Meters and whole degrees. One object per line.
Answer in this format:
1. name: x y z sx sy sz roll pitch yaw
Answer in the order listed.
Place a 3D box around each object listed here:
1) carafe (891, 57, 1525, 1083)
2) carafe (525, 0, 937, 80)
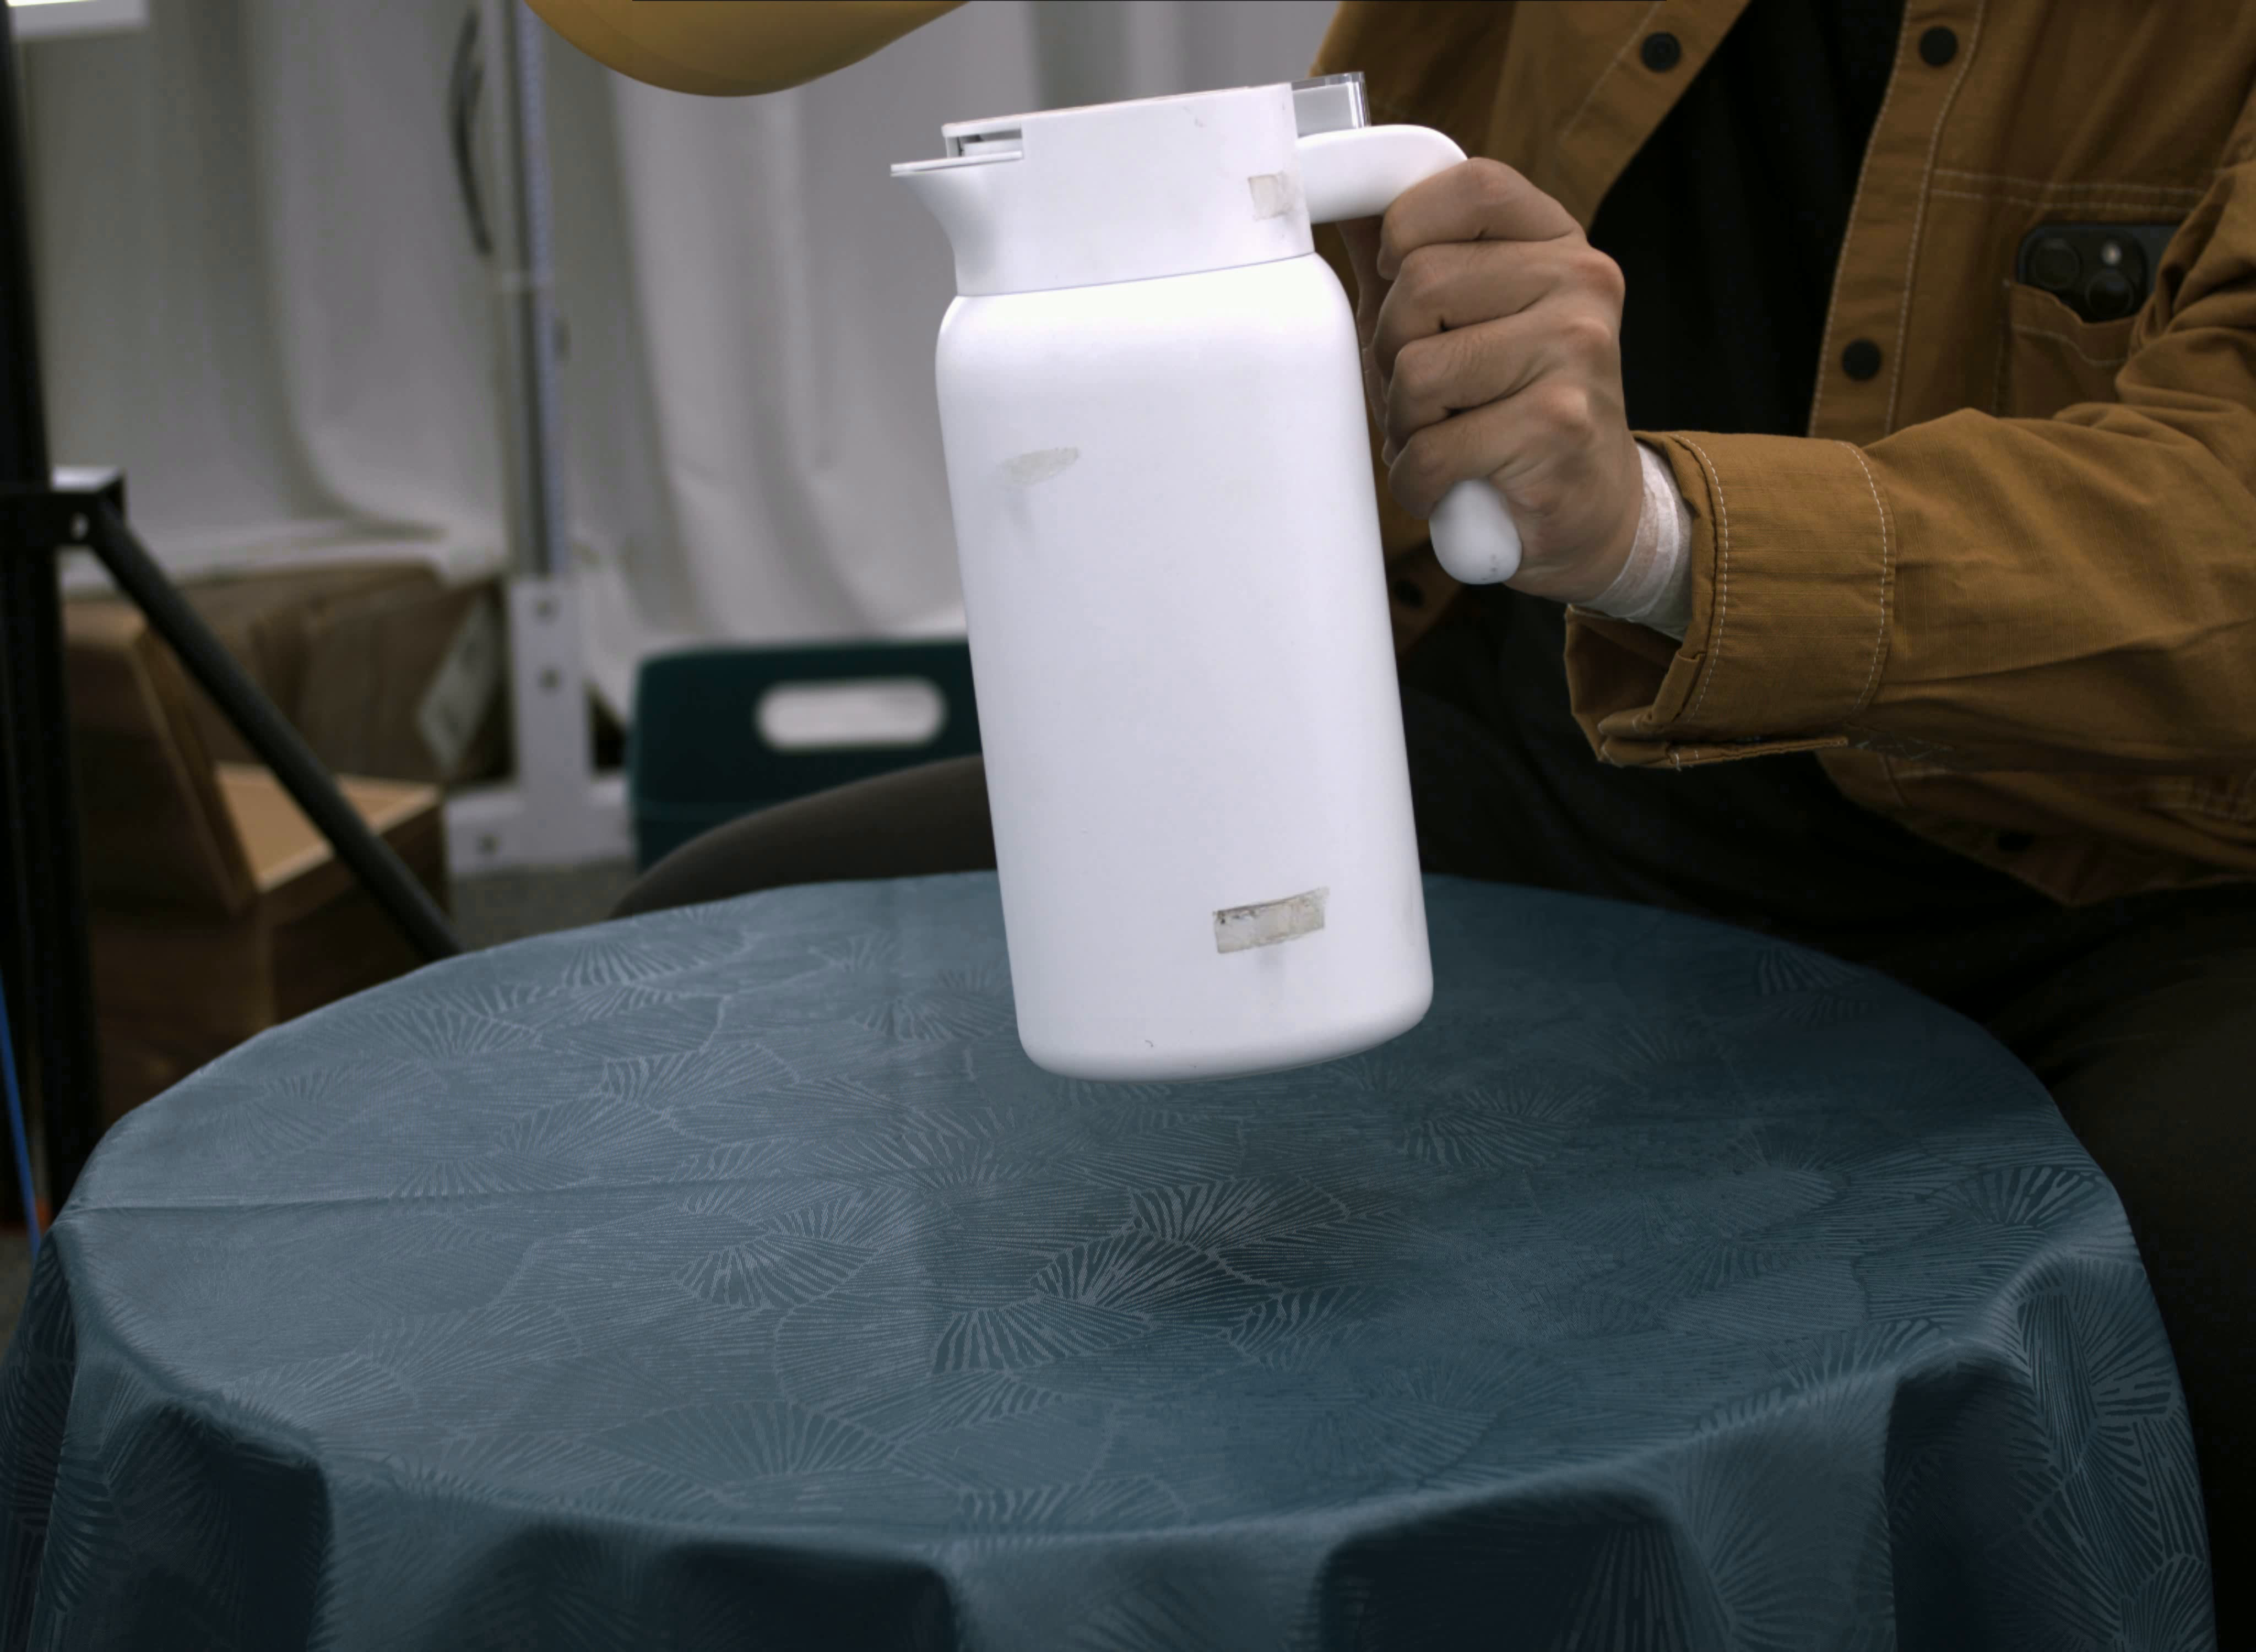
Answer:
1. carafe: 0.029 -0.073 1.472 0.169 0.269 0.126 -10 5 -23
2. carafe: -0.085 -0.331 1.524 0.160 0.203 0.265 -17 4 -32
